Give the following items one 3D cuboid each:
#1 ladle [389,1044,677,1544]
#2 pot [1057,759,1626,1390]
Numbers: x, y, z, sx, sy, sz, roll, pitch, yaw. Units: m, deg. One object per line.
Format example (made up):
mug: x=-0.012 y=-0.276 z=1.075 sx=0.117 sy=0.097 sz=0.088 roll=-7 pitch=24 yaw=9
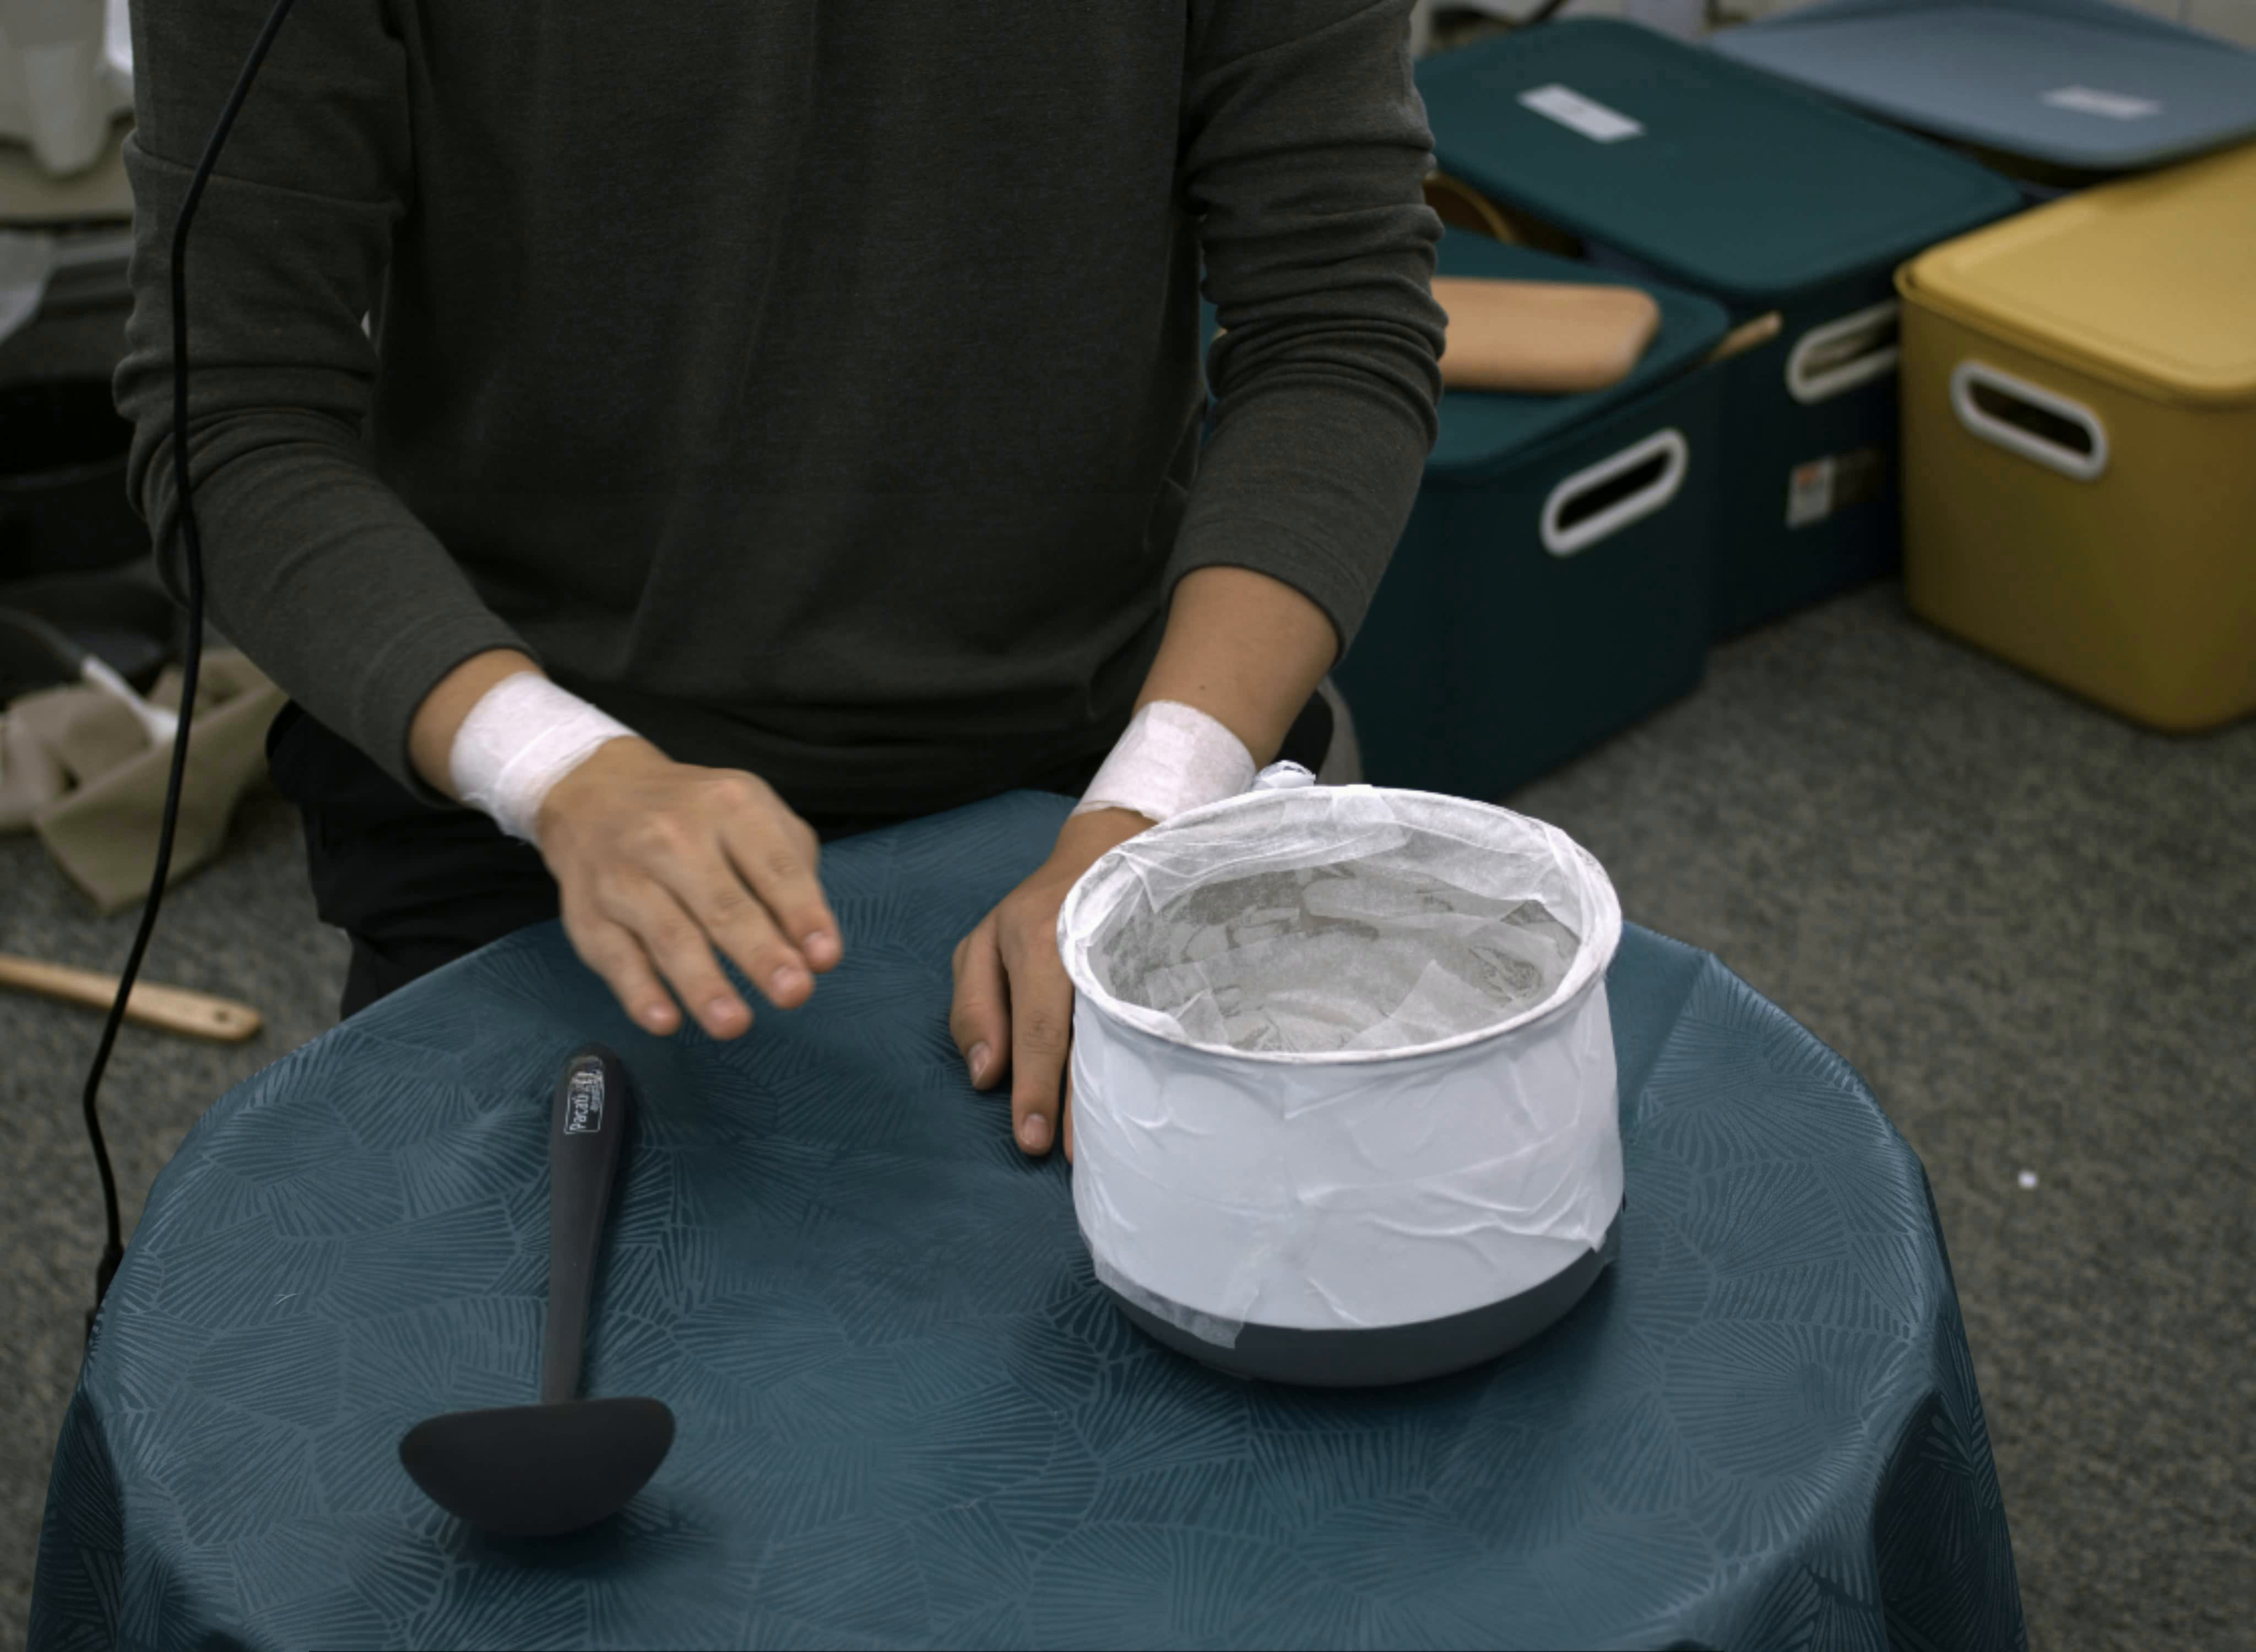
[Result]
ladle: x=-0.181 y=0.131 z=1.794 sx=0.086 sy=0.063 sz=0.318 roll=-1 pitch=27 yaw=-2
pot: x=0.064 y=0.072 z=1.806 sx=0.178 sy=0.135 sz=0.236 roll=-6 pitch=27 yaw=-7
